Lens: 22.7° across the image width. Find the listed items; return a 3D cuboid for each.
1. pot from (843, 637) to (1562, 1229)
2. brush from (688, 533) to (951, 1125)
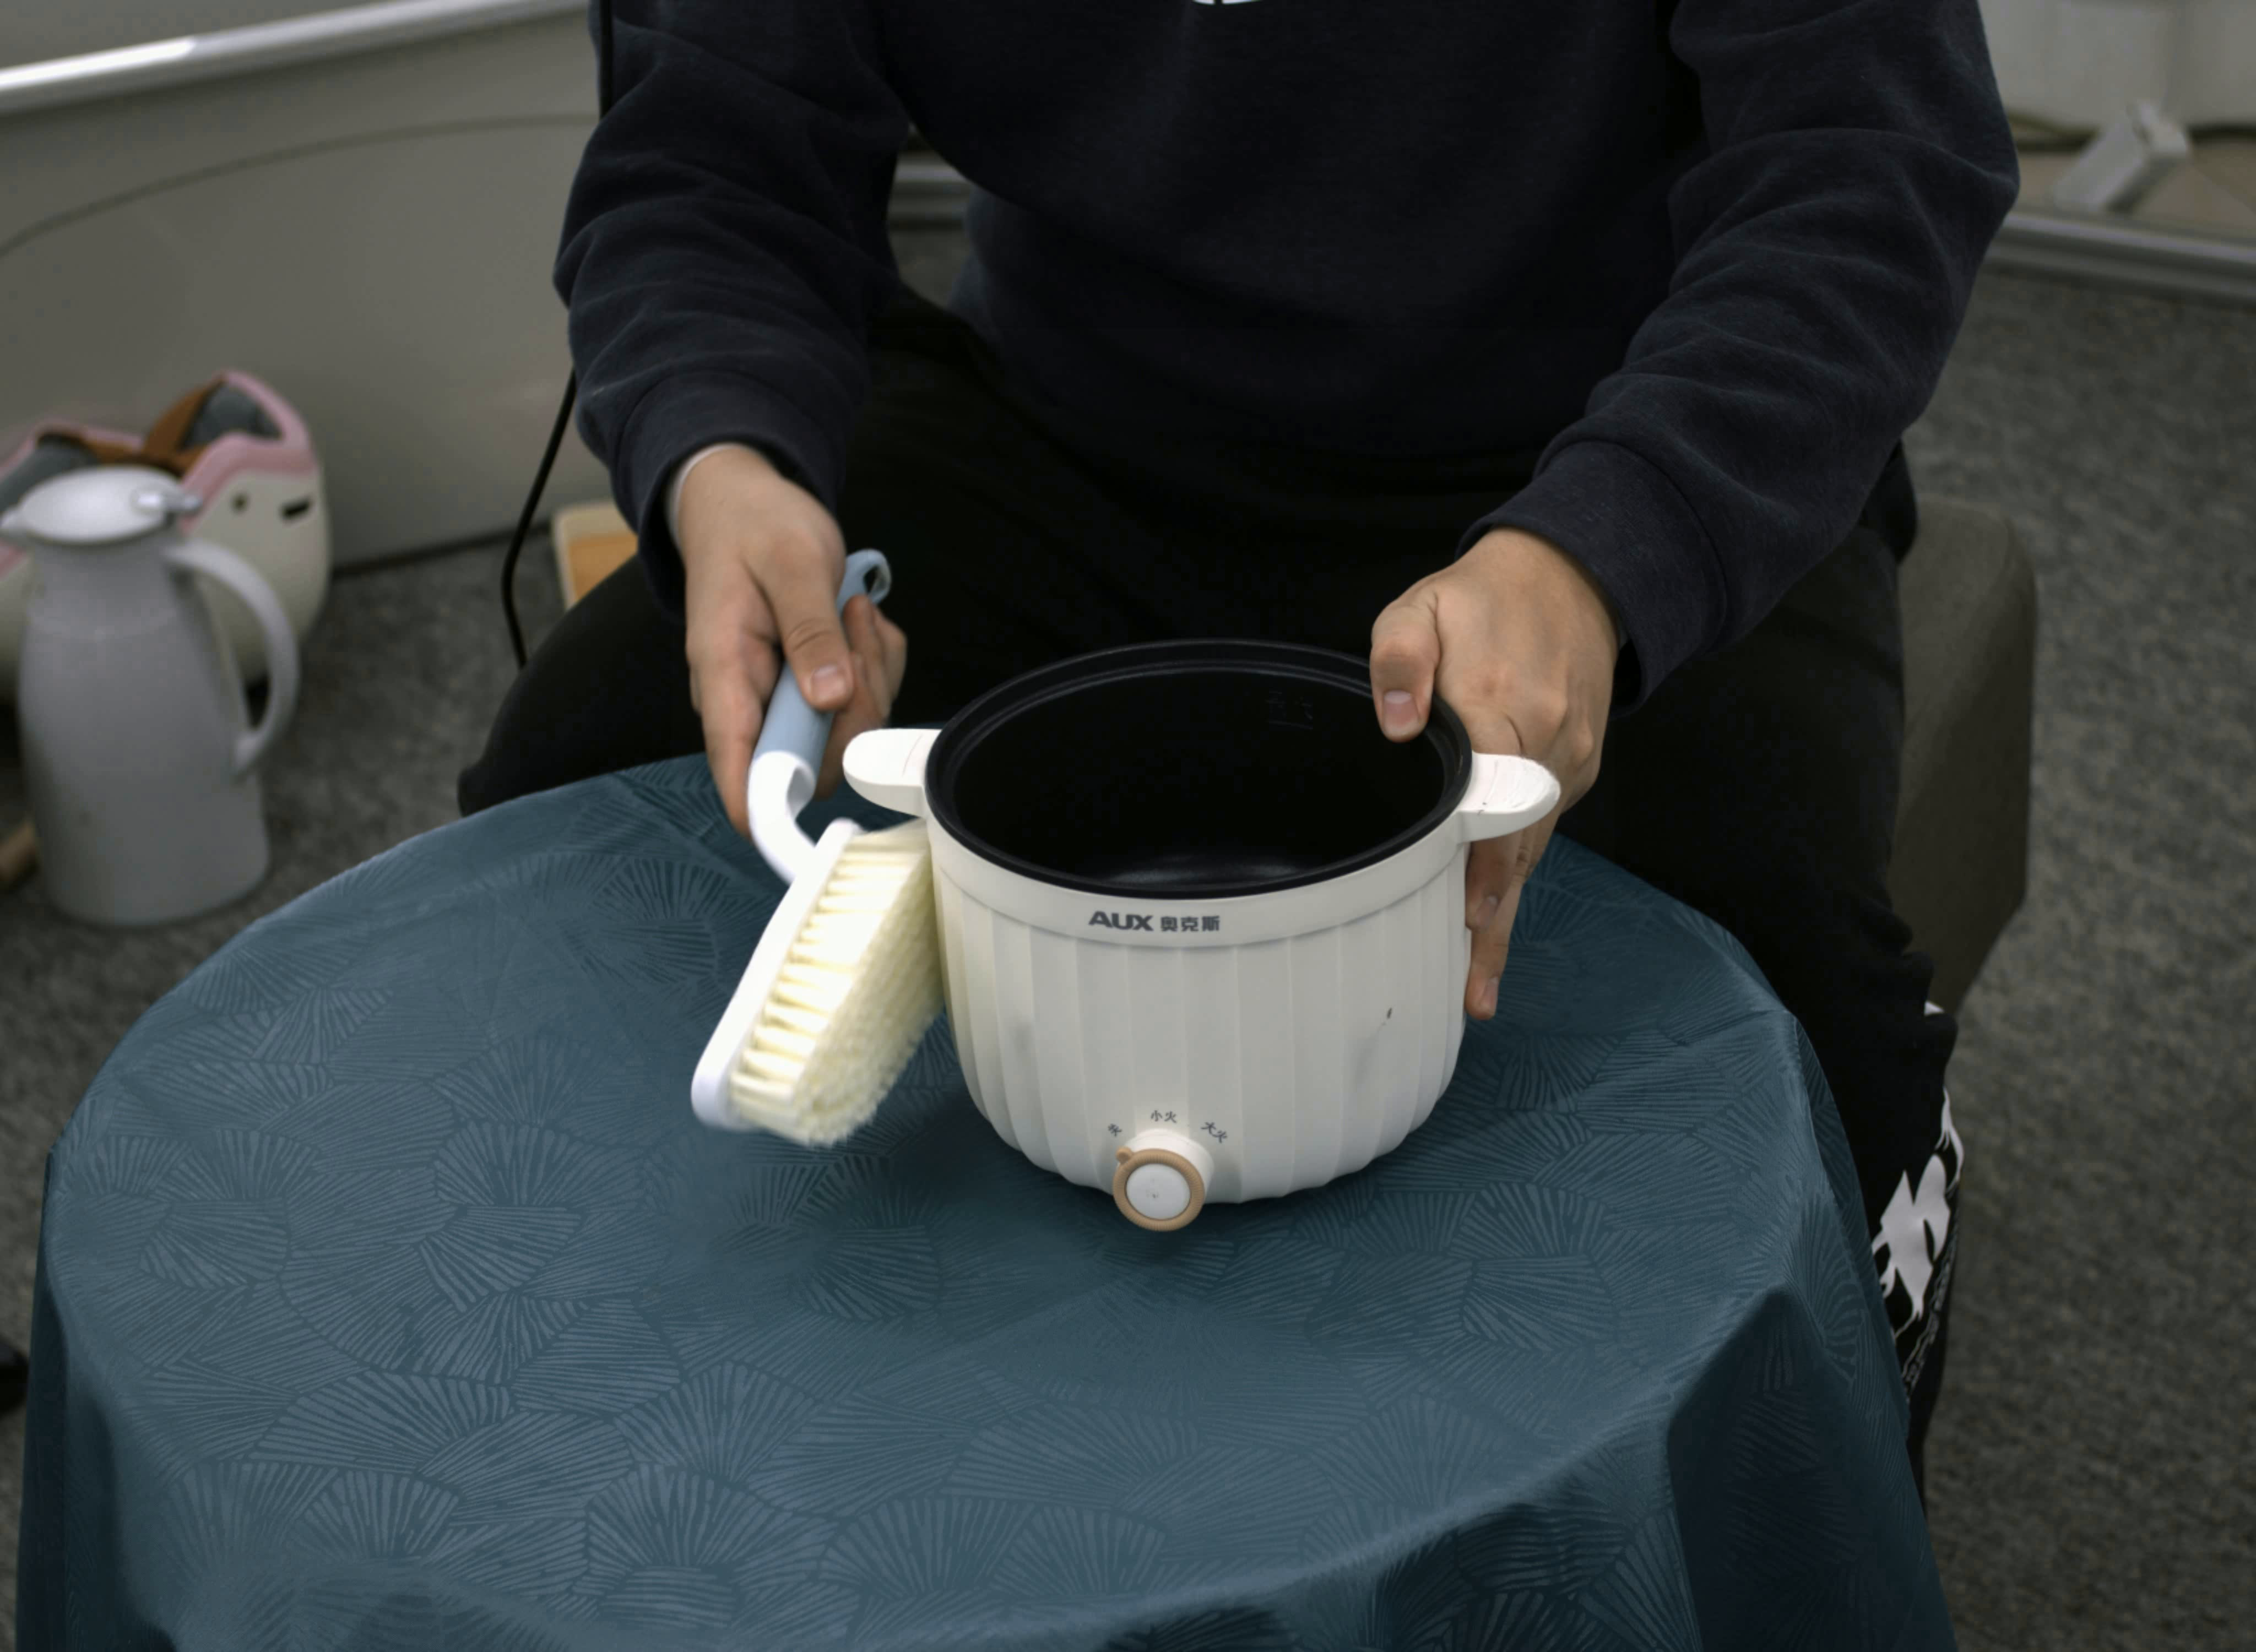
[{"bbox_3d":[0.026,0.038,1.874,0.239,0.141,0.193,1,24,10],"label":"pot"},{"bbox_3d":[-0.085,-0.010,1.941,0.084,0.082,0.332,31,34,-13],"label":"brush"}]
